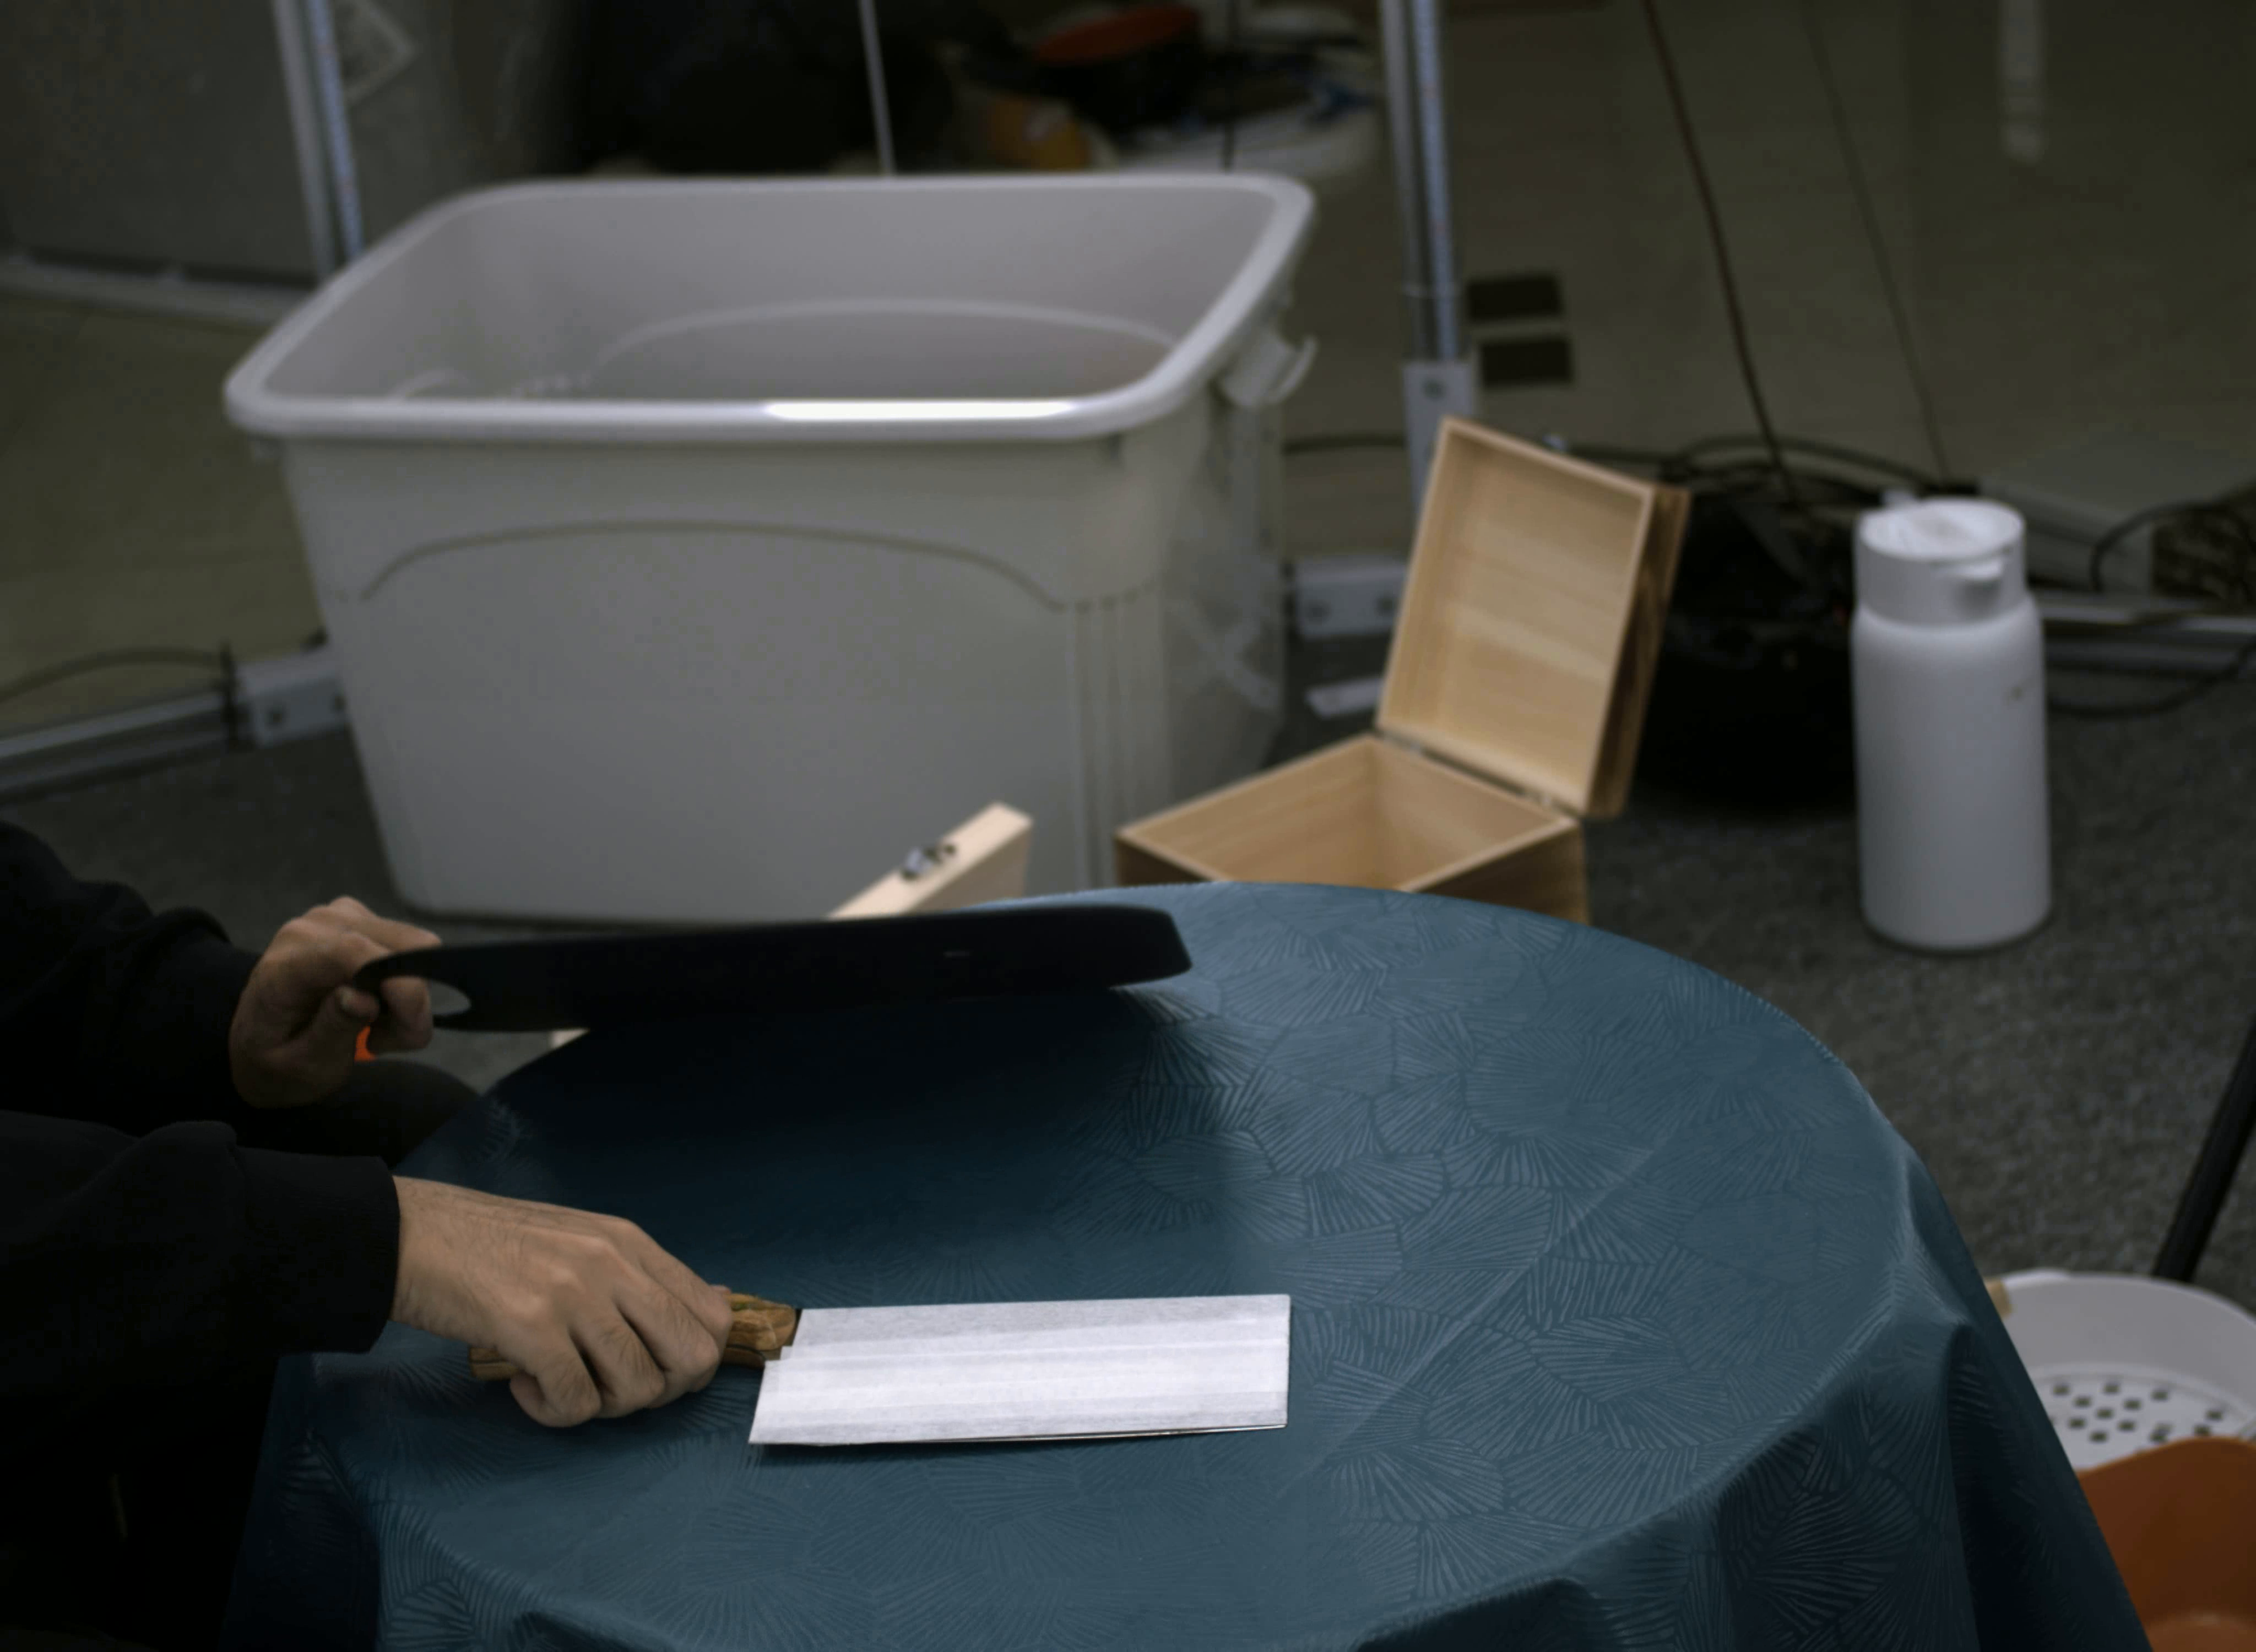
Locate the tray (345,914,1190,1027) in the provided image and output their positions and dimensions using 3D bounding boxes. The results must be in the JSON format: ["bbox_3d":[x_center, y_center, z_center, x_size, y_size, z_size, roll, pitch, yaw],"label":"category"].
[{"bbox_3d":[-0.142,0.057,2.209,0.325,0.010,0.212,-4,-9,5],"label":"tray"}]

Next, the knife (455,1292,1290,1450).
[{"bbox_3d":[-0.094,0.195,2.032,0.305,0.021,0.091,-2,27,4],"label":"knife"}]
